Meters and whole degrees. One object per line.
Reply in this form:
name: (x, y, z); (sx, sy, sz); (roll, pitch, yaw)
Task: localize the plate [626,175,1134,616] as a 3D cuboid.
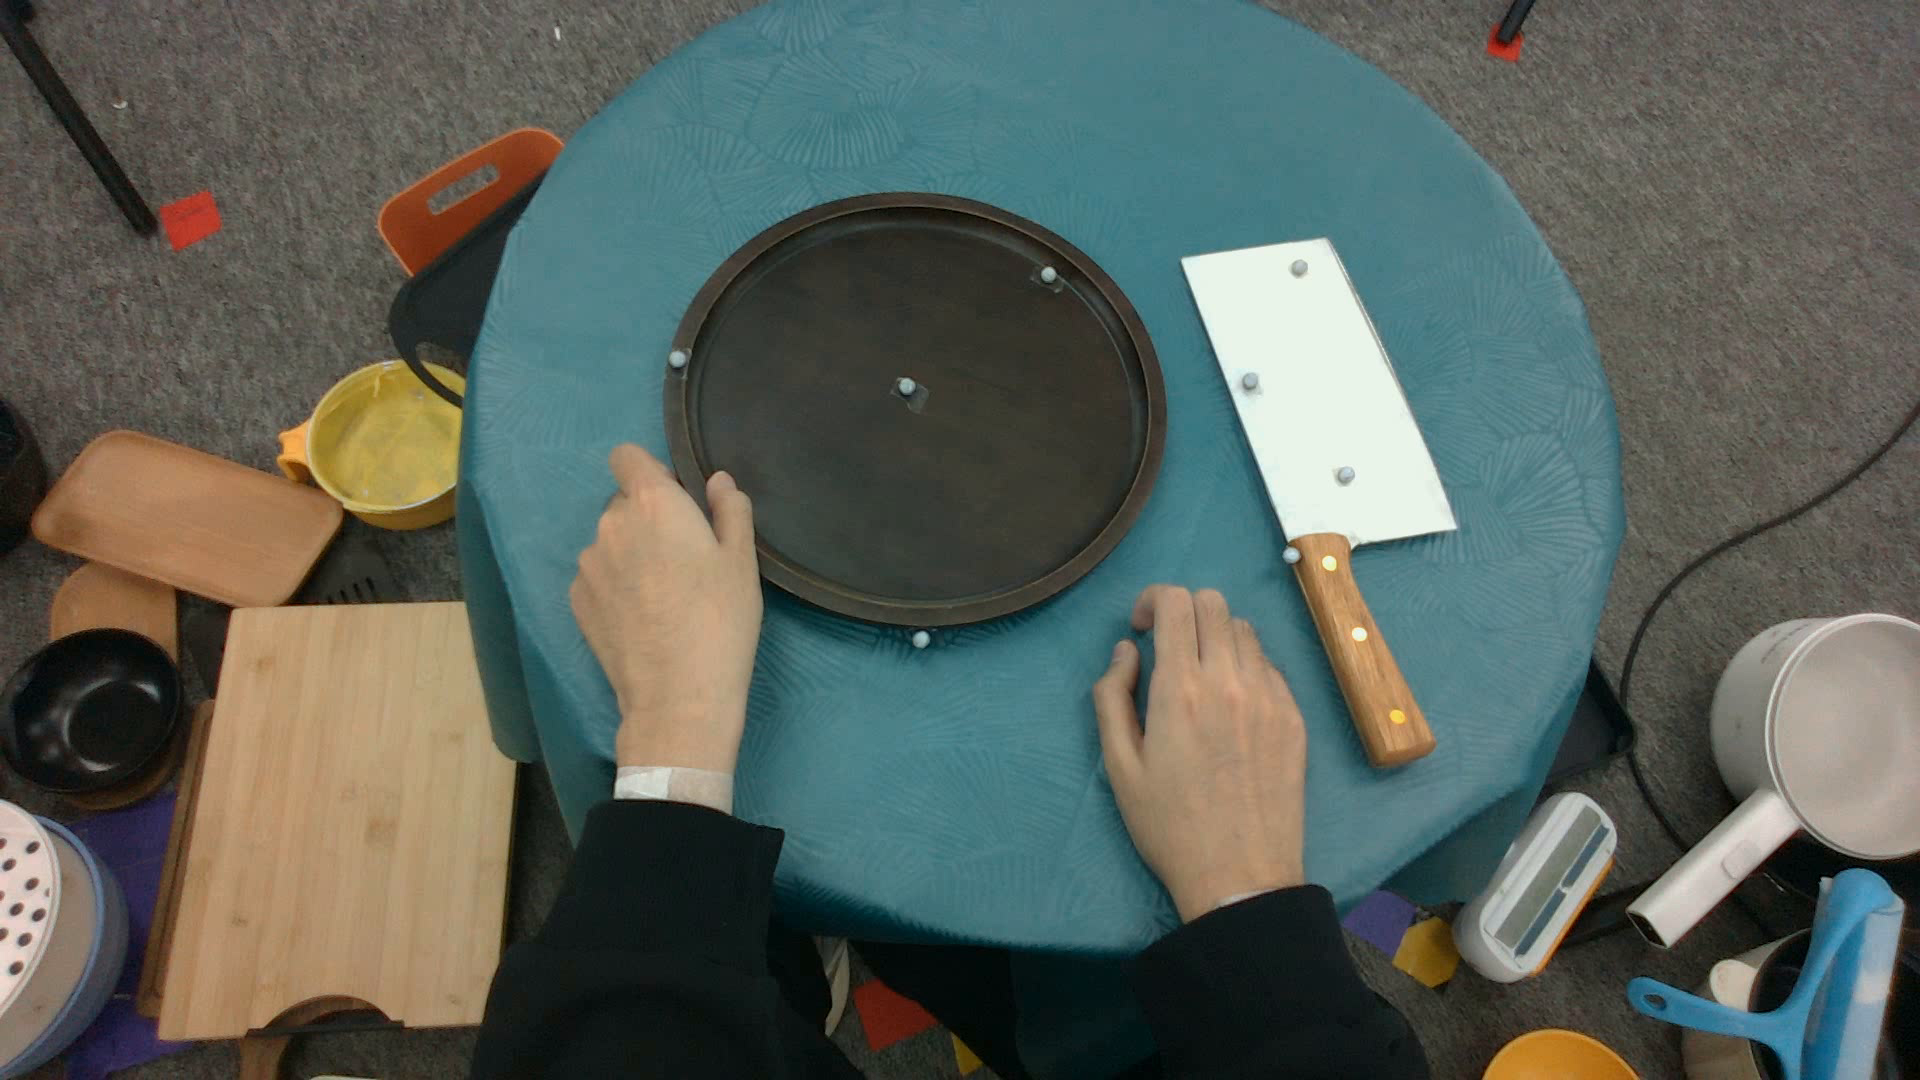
plate: (-0.037, -0.078, 0.692); (0.255, 0.029, 0.255); (2, 64, -4)

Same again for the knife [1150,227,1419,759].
knife: (0.182, -0.039, 0.706); (0.093, 0.021, 0.306); (-9, 64, -13)
